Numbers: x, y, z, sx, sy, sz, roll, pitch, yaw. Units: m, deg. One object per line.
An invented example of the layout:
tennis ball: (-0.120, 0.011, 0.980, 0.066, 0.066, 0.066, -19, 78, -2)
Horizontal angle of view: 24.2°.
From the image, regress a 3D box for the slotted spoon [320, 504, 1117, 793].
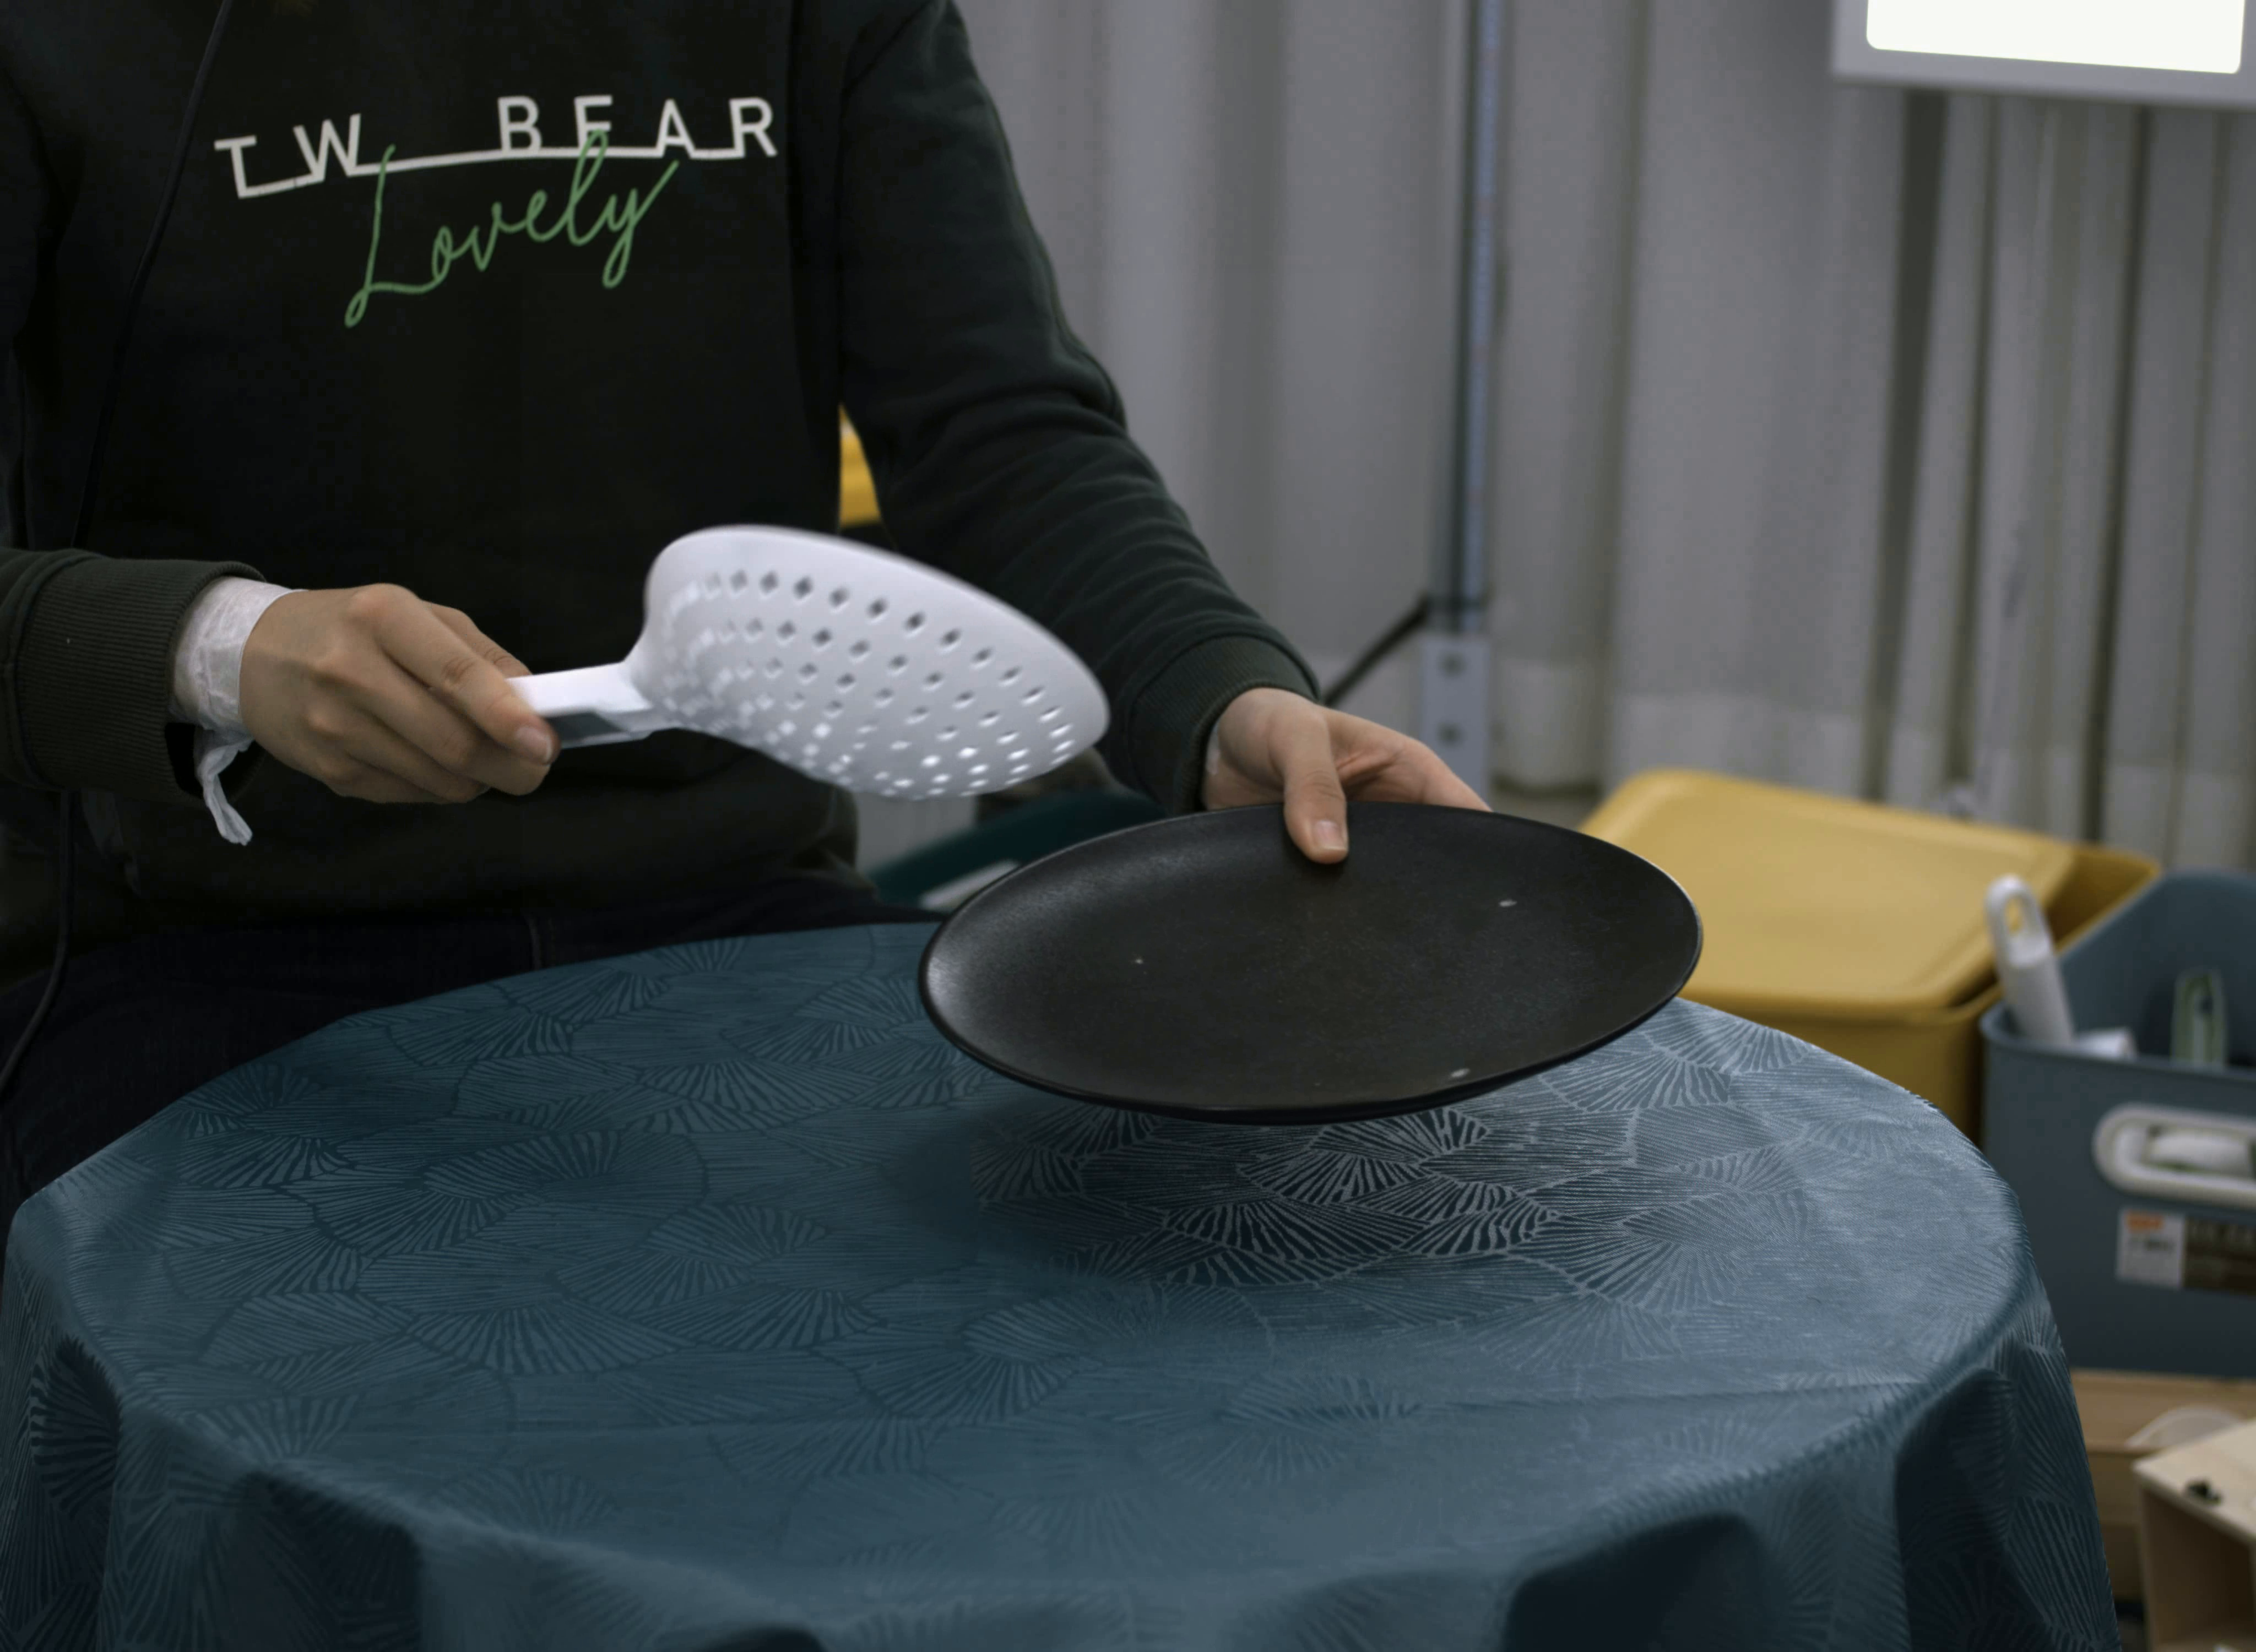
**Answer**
slotted spoon: (-0.140, -0.041, 1.576, 0.138, 0.045, 0.346, 36, -22, -33)

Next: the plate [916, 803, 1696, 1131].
plate: (0.056, 0.046, 1.637, 0.243, 0.023, 0.243, -3, 22, 2)
